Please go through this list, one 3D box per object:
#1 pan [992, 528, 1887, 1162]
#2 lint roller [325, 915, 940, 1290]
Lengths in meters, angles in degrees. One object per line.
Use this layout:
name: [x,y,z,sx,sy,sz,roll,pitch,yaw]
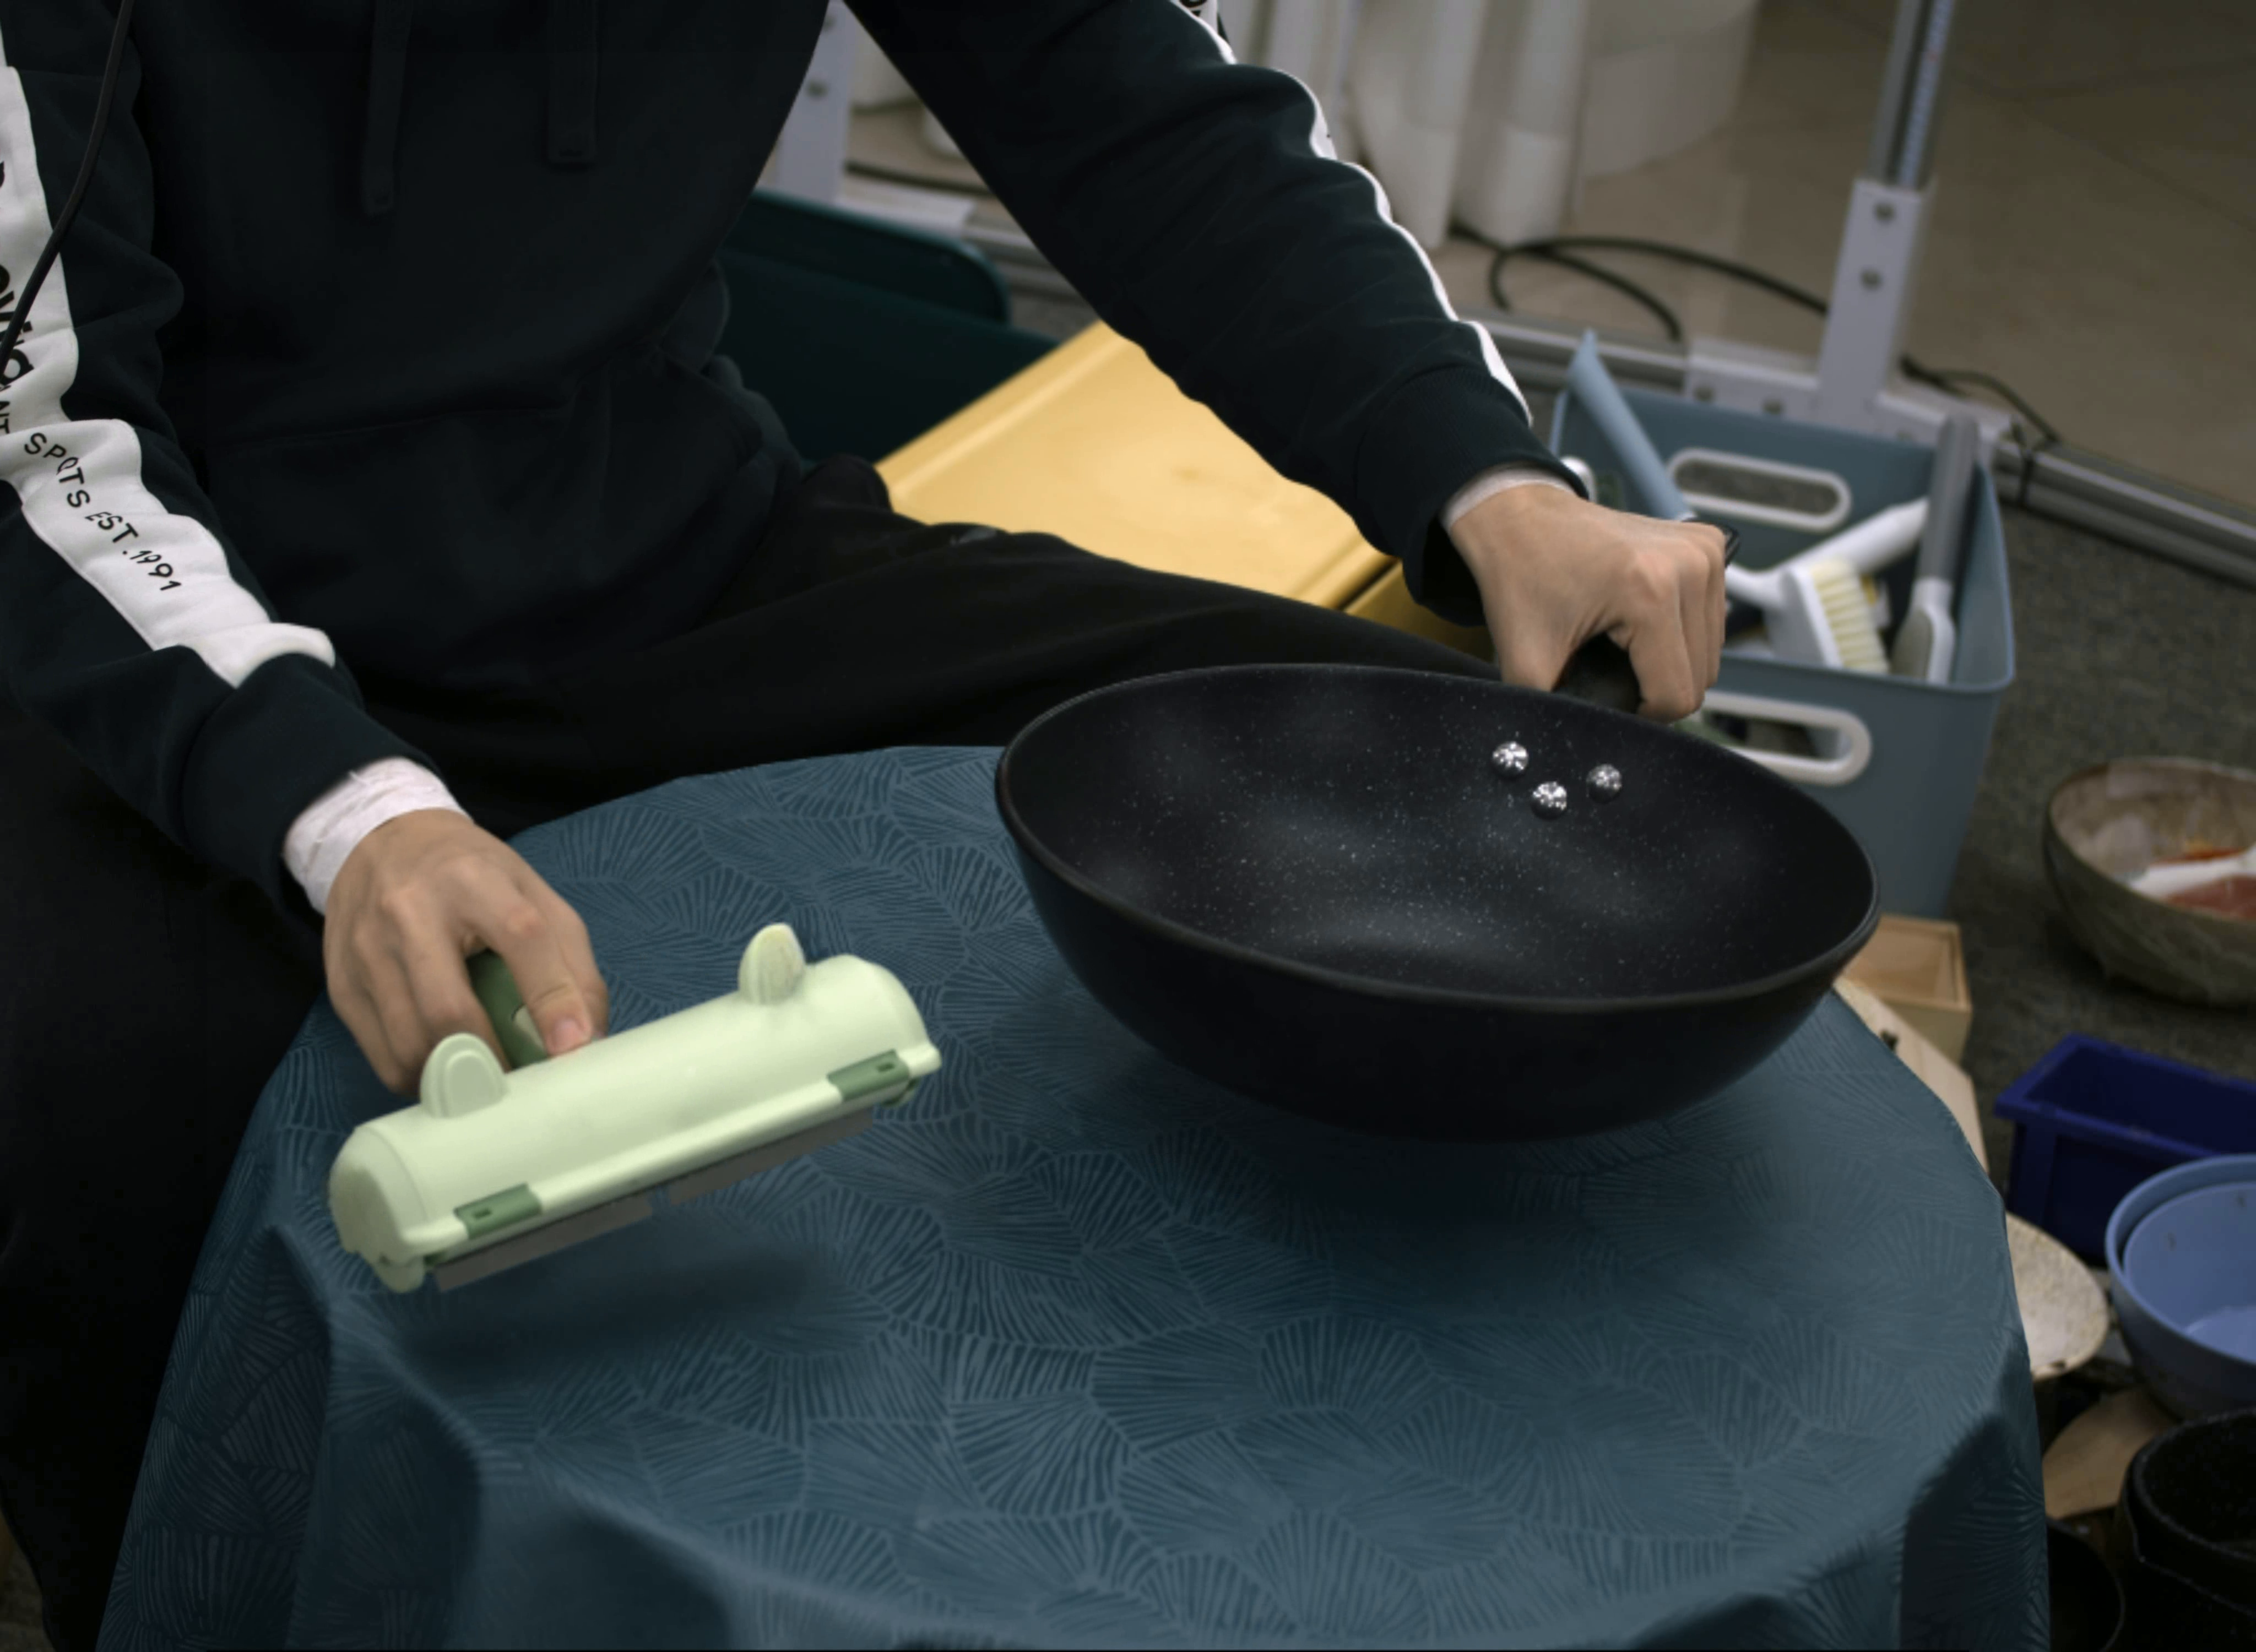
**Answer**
pan: [0.134,0.005,1.907,0.311,0.111,0.476,15,23,18]
lint roller: [-0.187,0.058,1.709,0.197,0.082,0.185,-19,40,-29]
